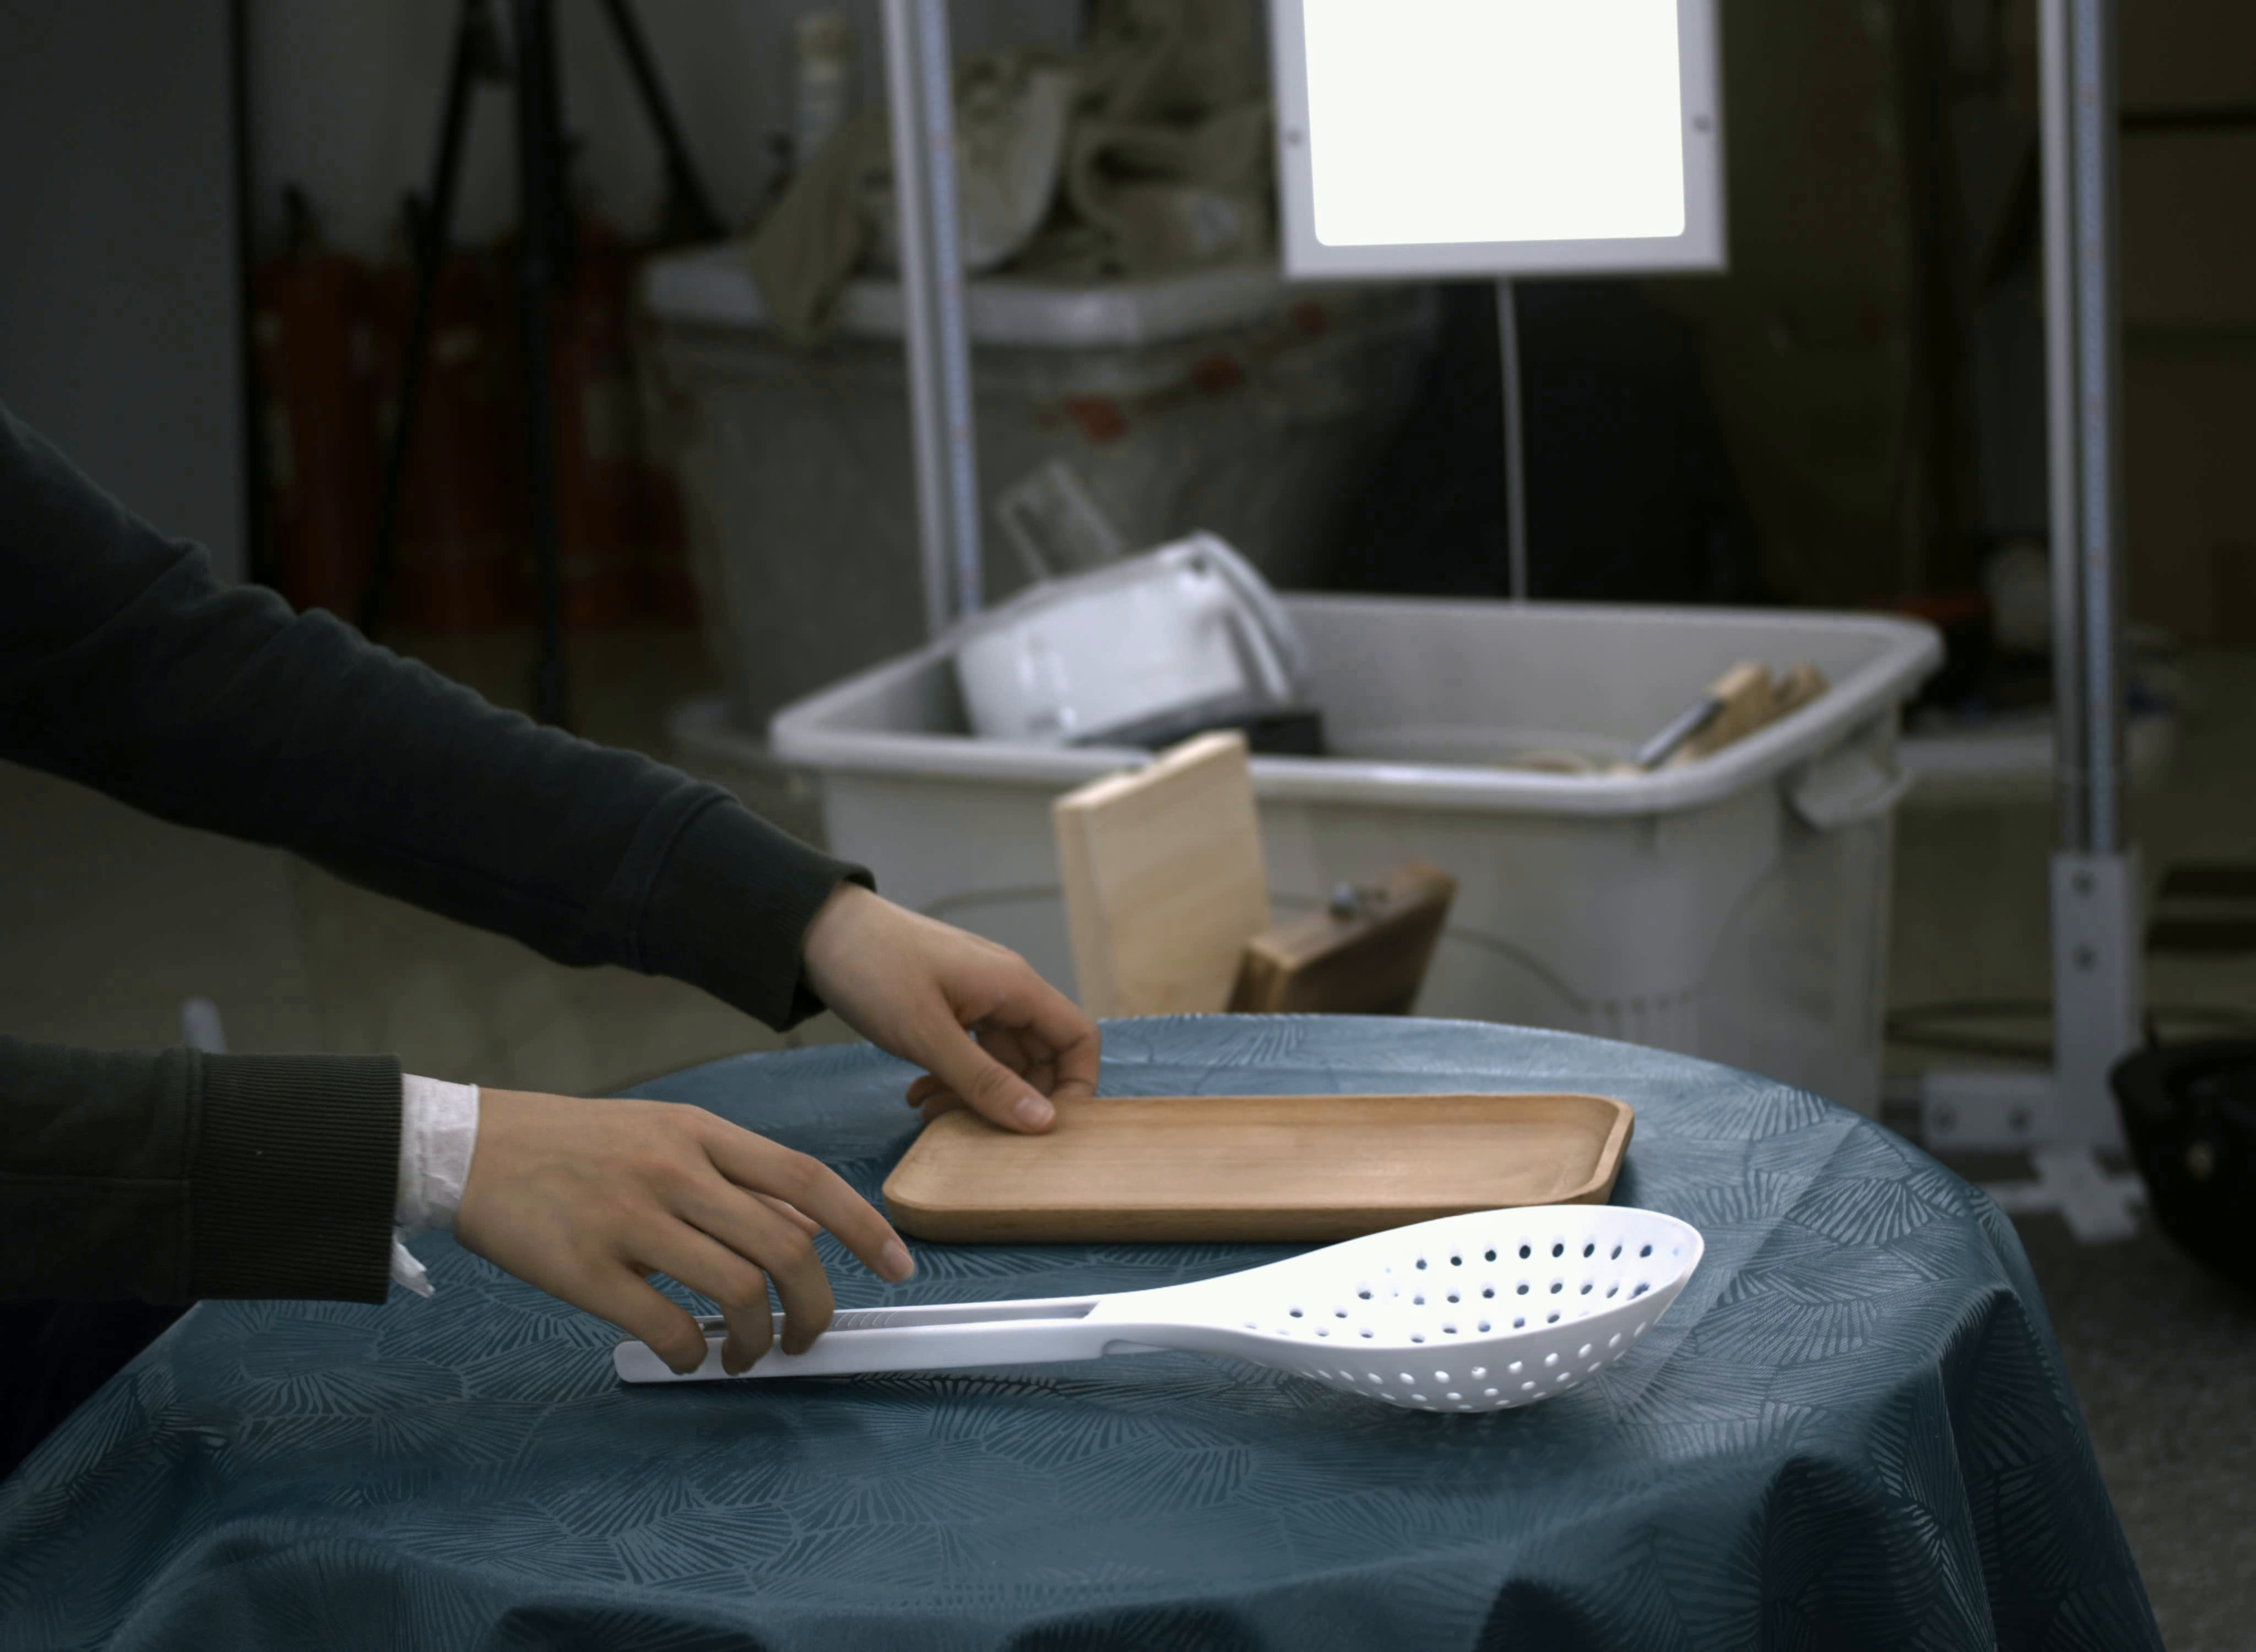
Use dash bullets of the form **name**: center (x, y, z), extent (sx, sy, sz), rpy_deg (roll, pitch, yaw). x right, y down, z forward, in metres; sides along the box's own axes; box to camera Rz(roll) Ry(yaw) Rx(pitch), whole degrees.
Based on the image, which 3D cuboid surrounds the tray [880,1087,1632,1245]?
- **tray**: center (0.045, 0.117, 1.886), extent (0.253, 0.023, 0.129), rpy_deg (-2, 12, 15)

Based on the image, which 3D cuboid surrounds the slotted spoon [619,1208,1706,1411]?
- **slotted spoon**: center (0.006, 0.152, 1.696), extent (0.354, 0.046, 0.134), rpy_deg (-1, 12, 19)
